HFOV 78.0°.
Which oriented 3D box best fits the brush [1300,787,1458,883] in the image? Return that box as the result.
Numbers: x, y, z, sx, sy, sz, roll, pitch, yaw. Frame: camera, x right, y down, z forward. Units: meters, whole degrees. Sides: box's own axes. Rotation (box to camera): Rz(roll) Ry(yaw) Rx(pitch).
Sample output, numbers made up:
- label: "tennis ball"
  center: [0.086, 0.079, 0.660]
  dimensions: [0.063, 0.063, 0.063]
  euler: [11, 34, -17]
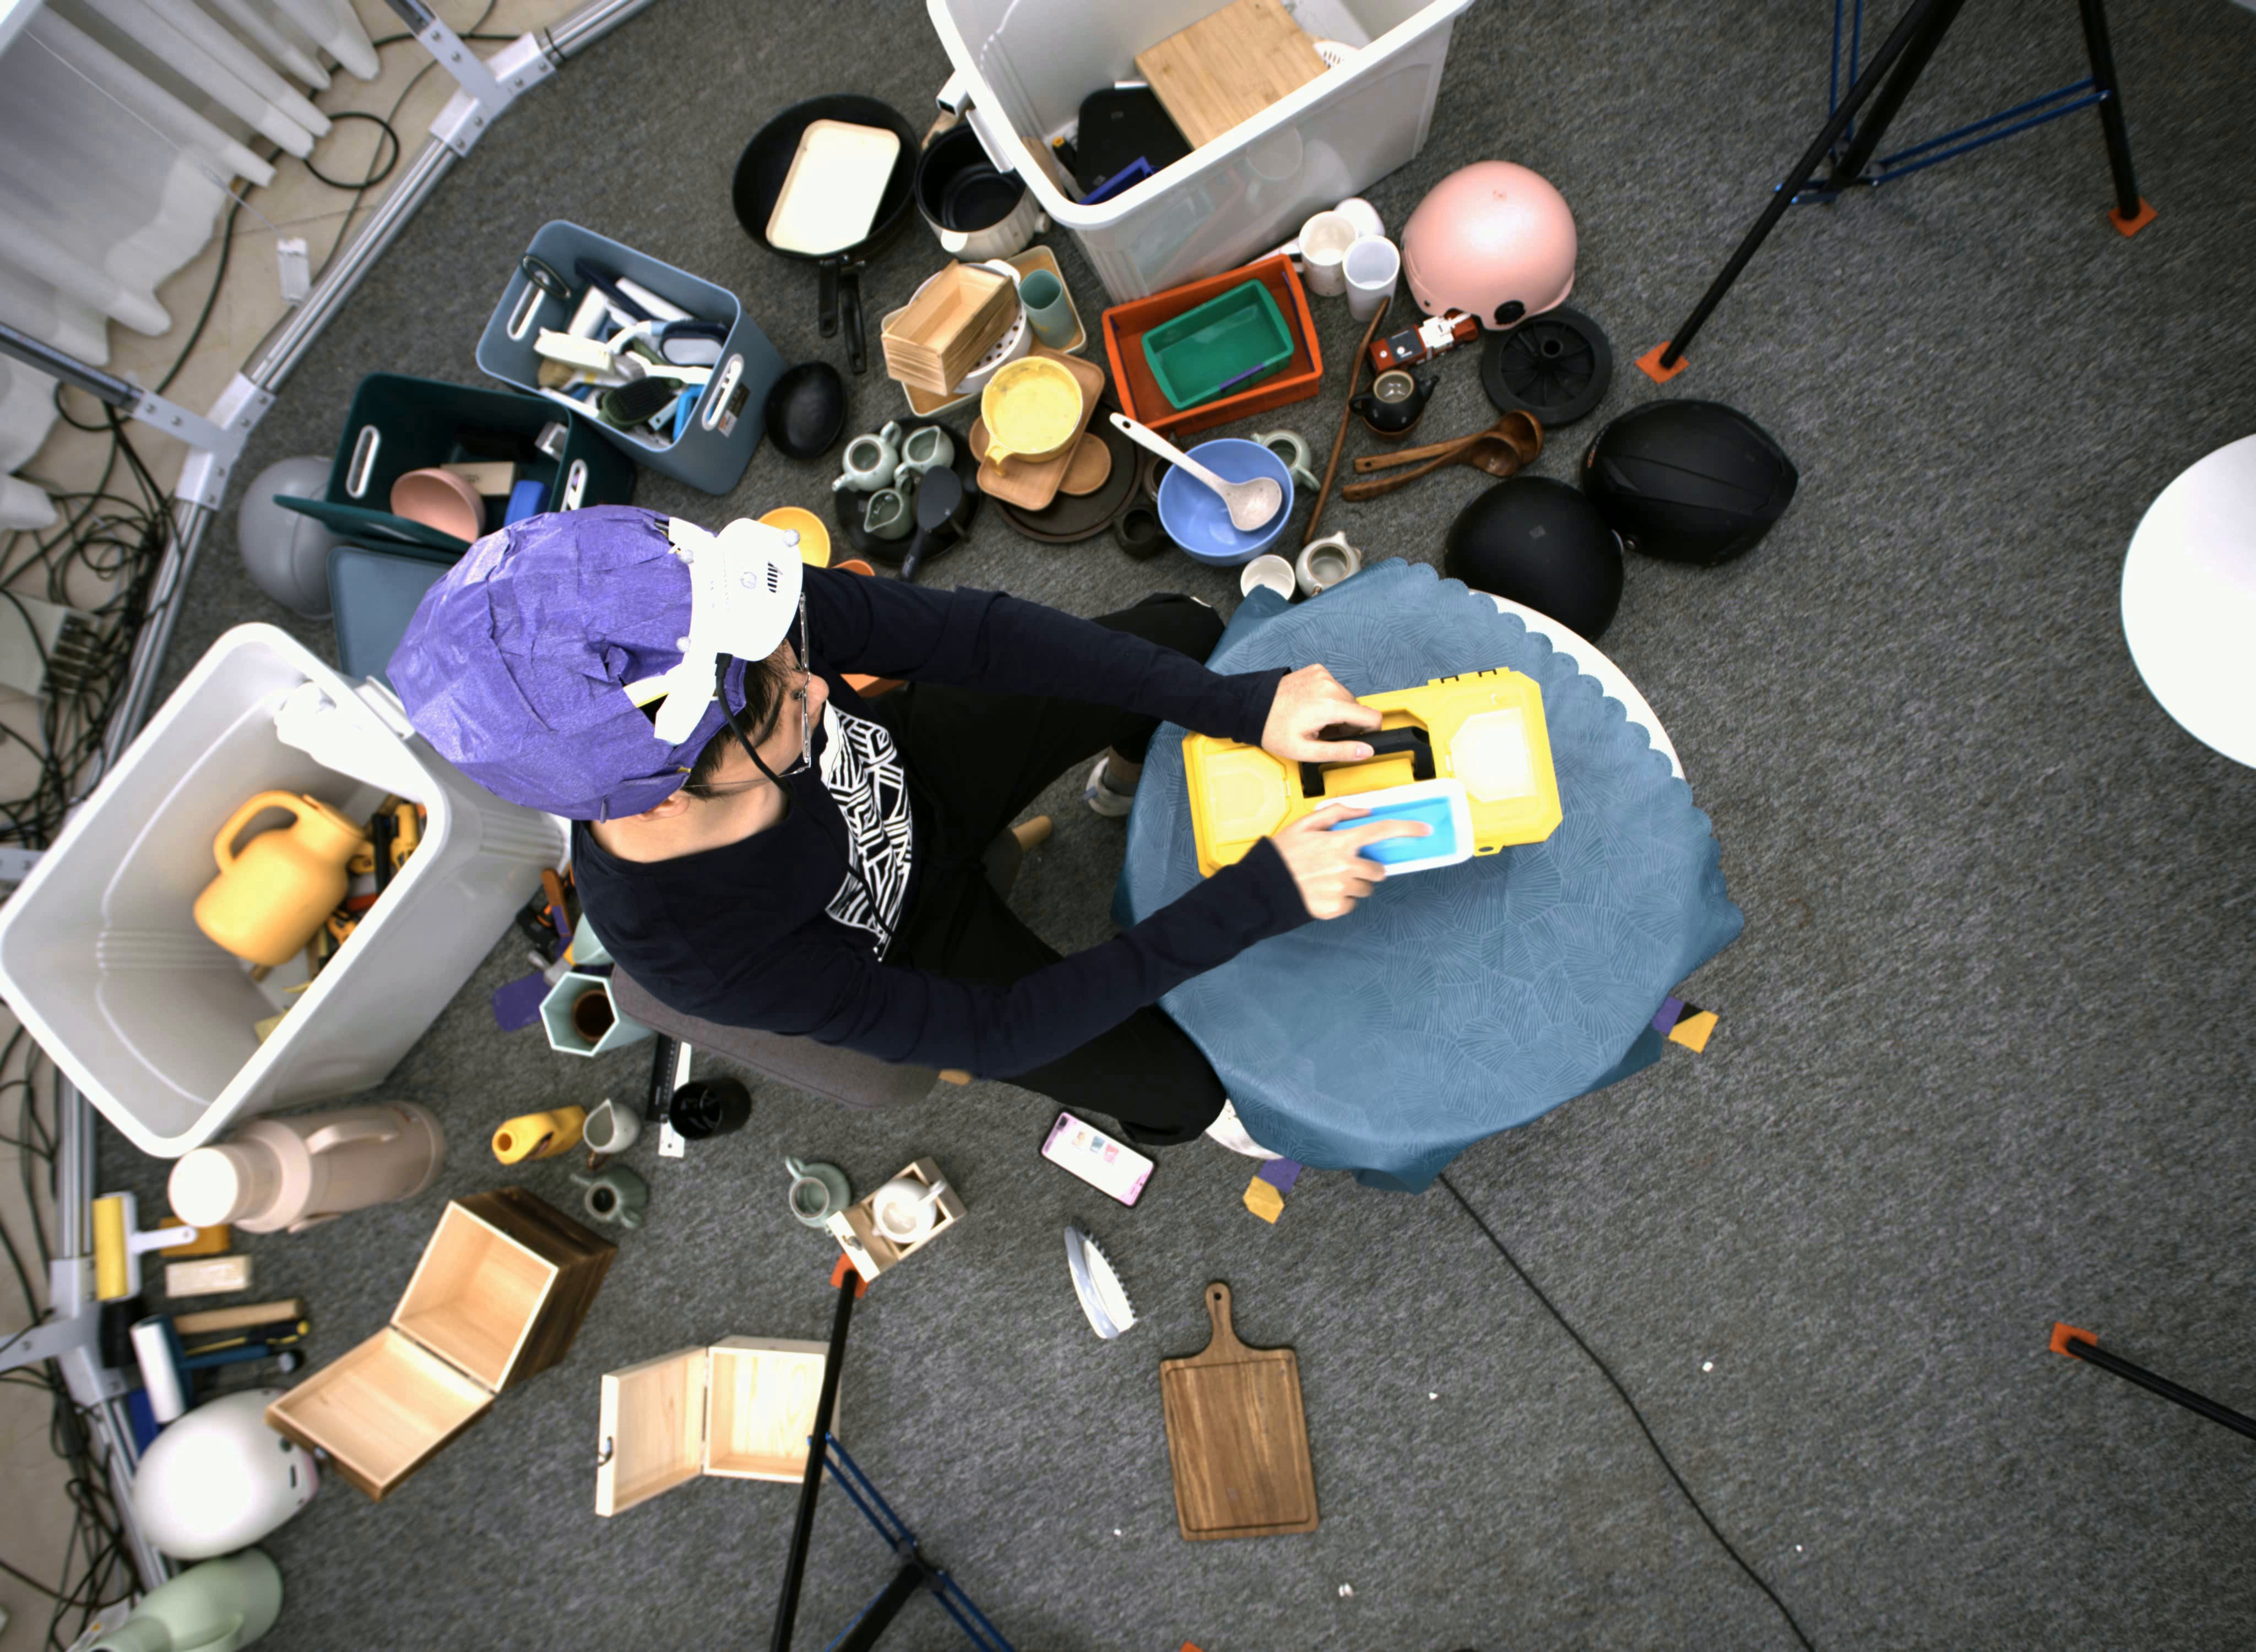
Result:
- label: "brush"
  center: [0.231, 0.006, 1.270]
  dimensions: [0.144, 0.055, 0.084]
  euler: [-6, 94, 9]

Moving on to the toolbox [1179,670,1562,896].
- label: "toolbox"
  center: [0.239, -0.039, 1.380]
  dimensions: [0.353, 0.173, 0.180]
  euler: [-9, 84, 9]
